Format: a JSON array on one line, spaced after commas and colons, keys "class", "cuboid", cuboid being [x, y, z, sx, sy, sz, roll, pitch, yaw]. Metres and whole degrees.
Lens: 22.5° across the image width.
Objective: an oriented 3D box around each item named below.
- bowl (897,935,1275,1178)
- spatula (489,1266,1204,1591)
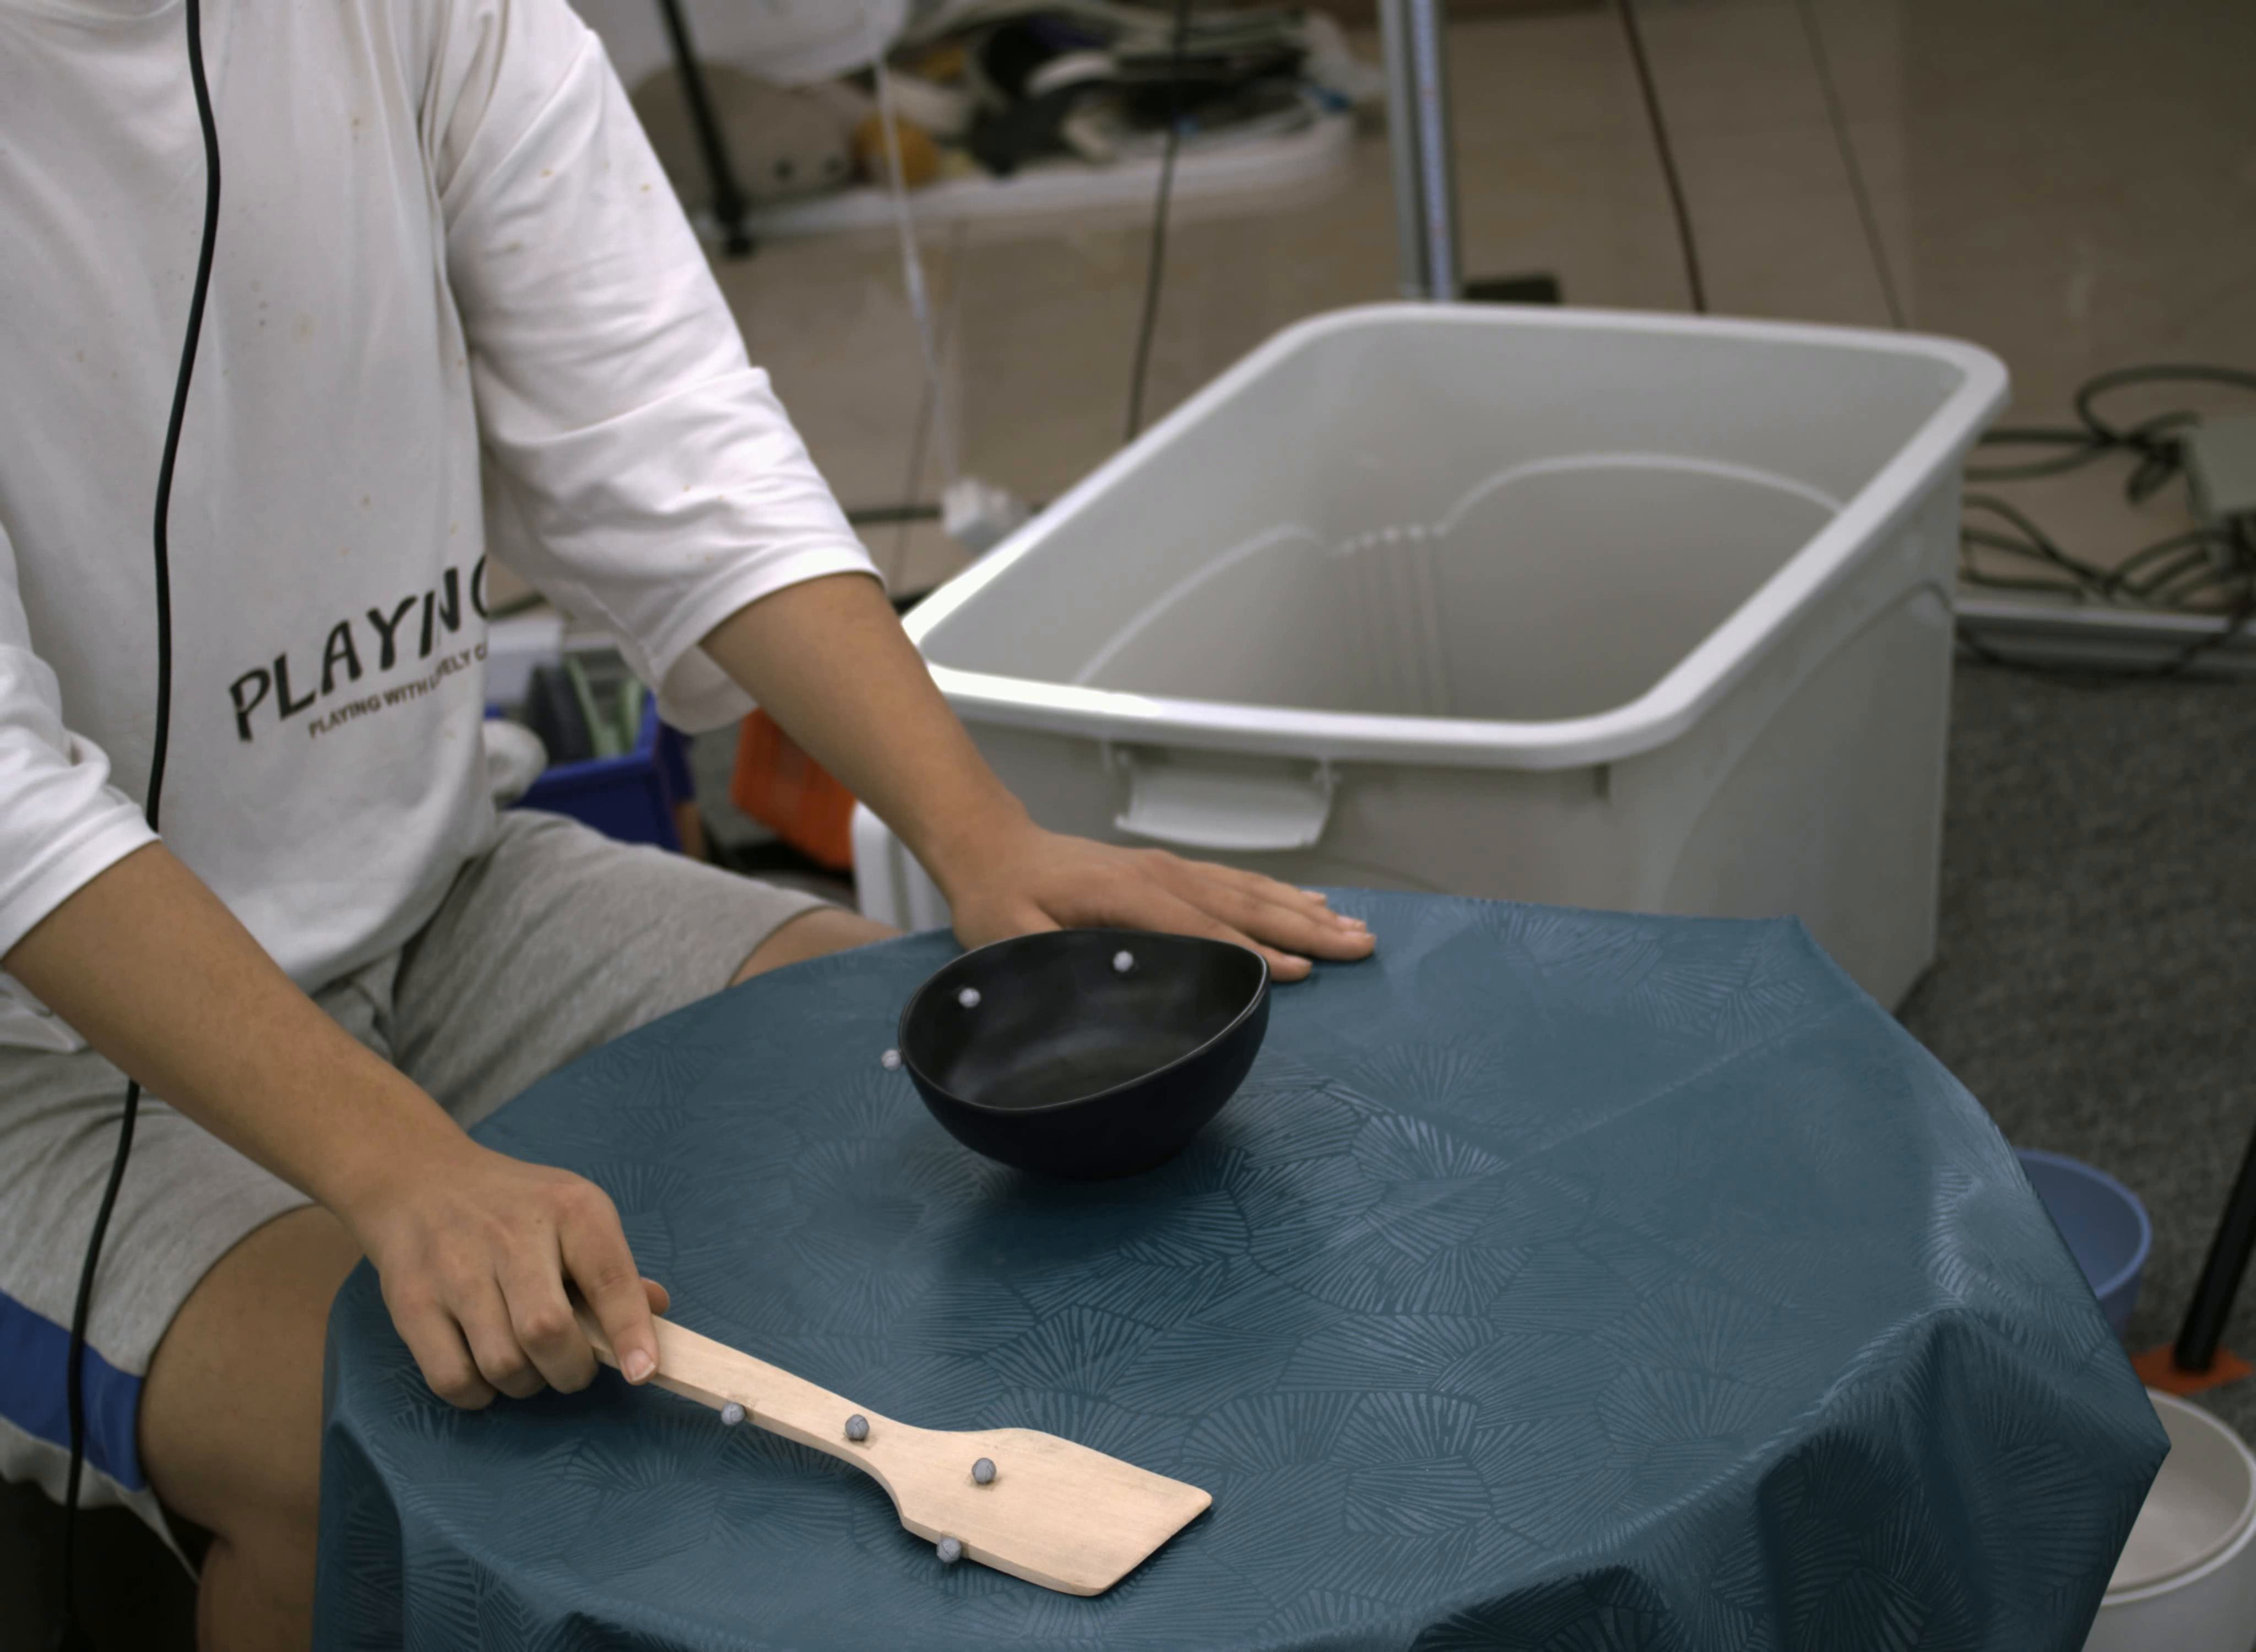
[{"class": "bowl", "cuboid": [-0.013, 0.092, 2.174, 0.137, 0.068, 0.168, 6, 26, 26]}, {"class": "spatula", "cuboid": [-0.110, 0.206, 1.990, 0.291, 0.011, 0.071, 18, 35, 31]}]
